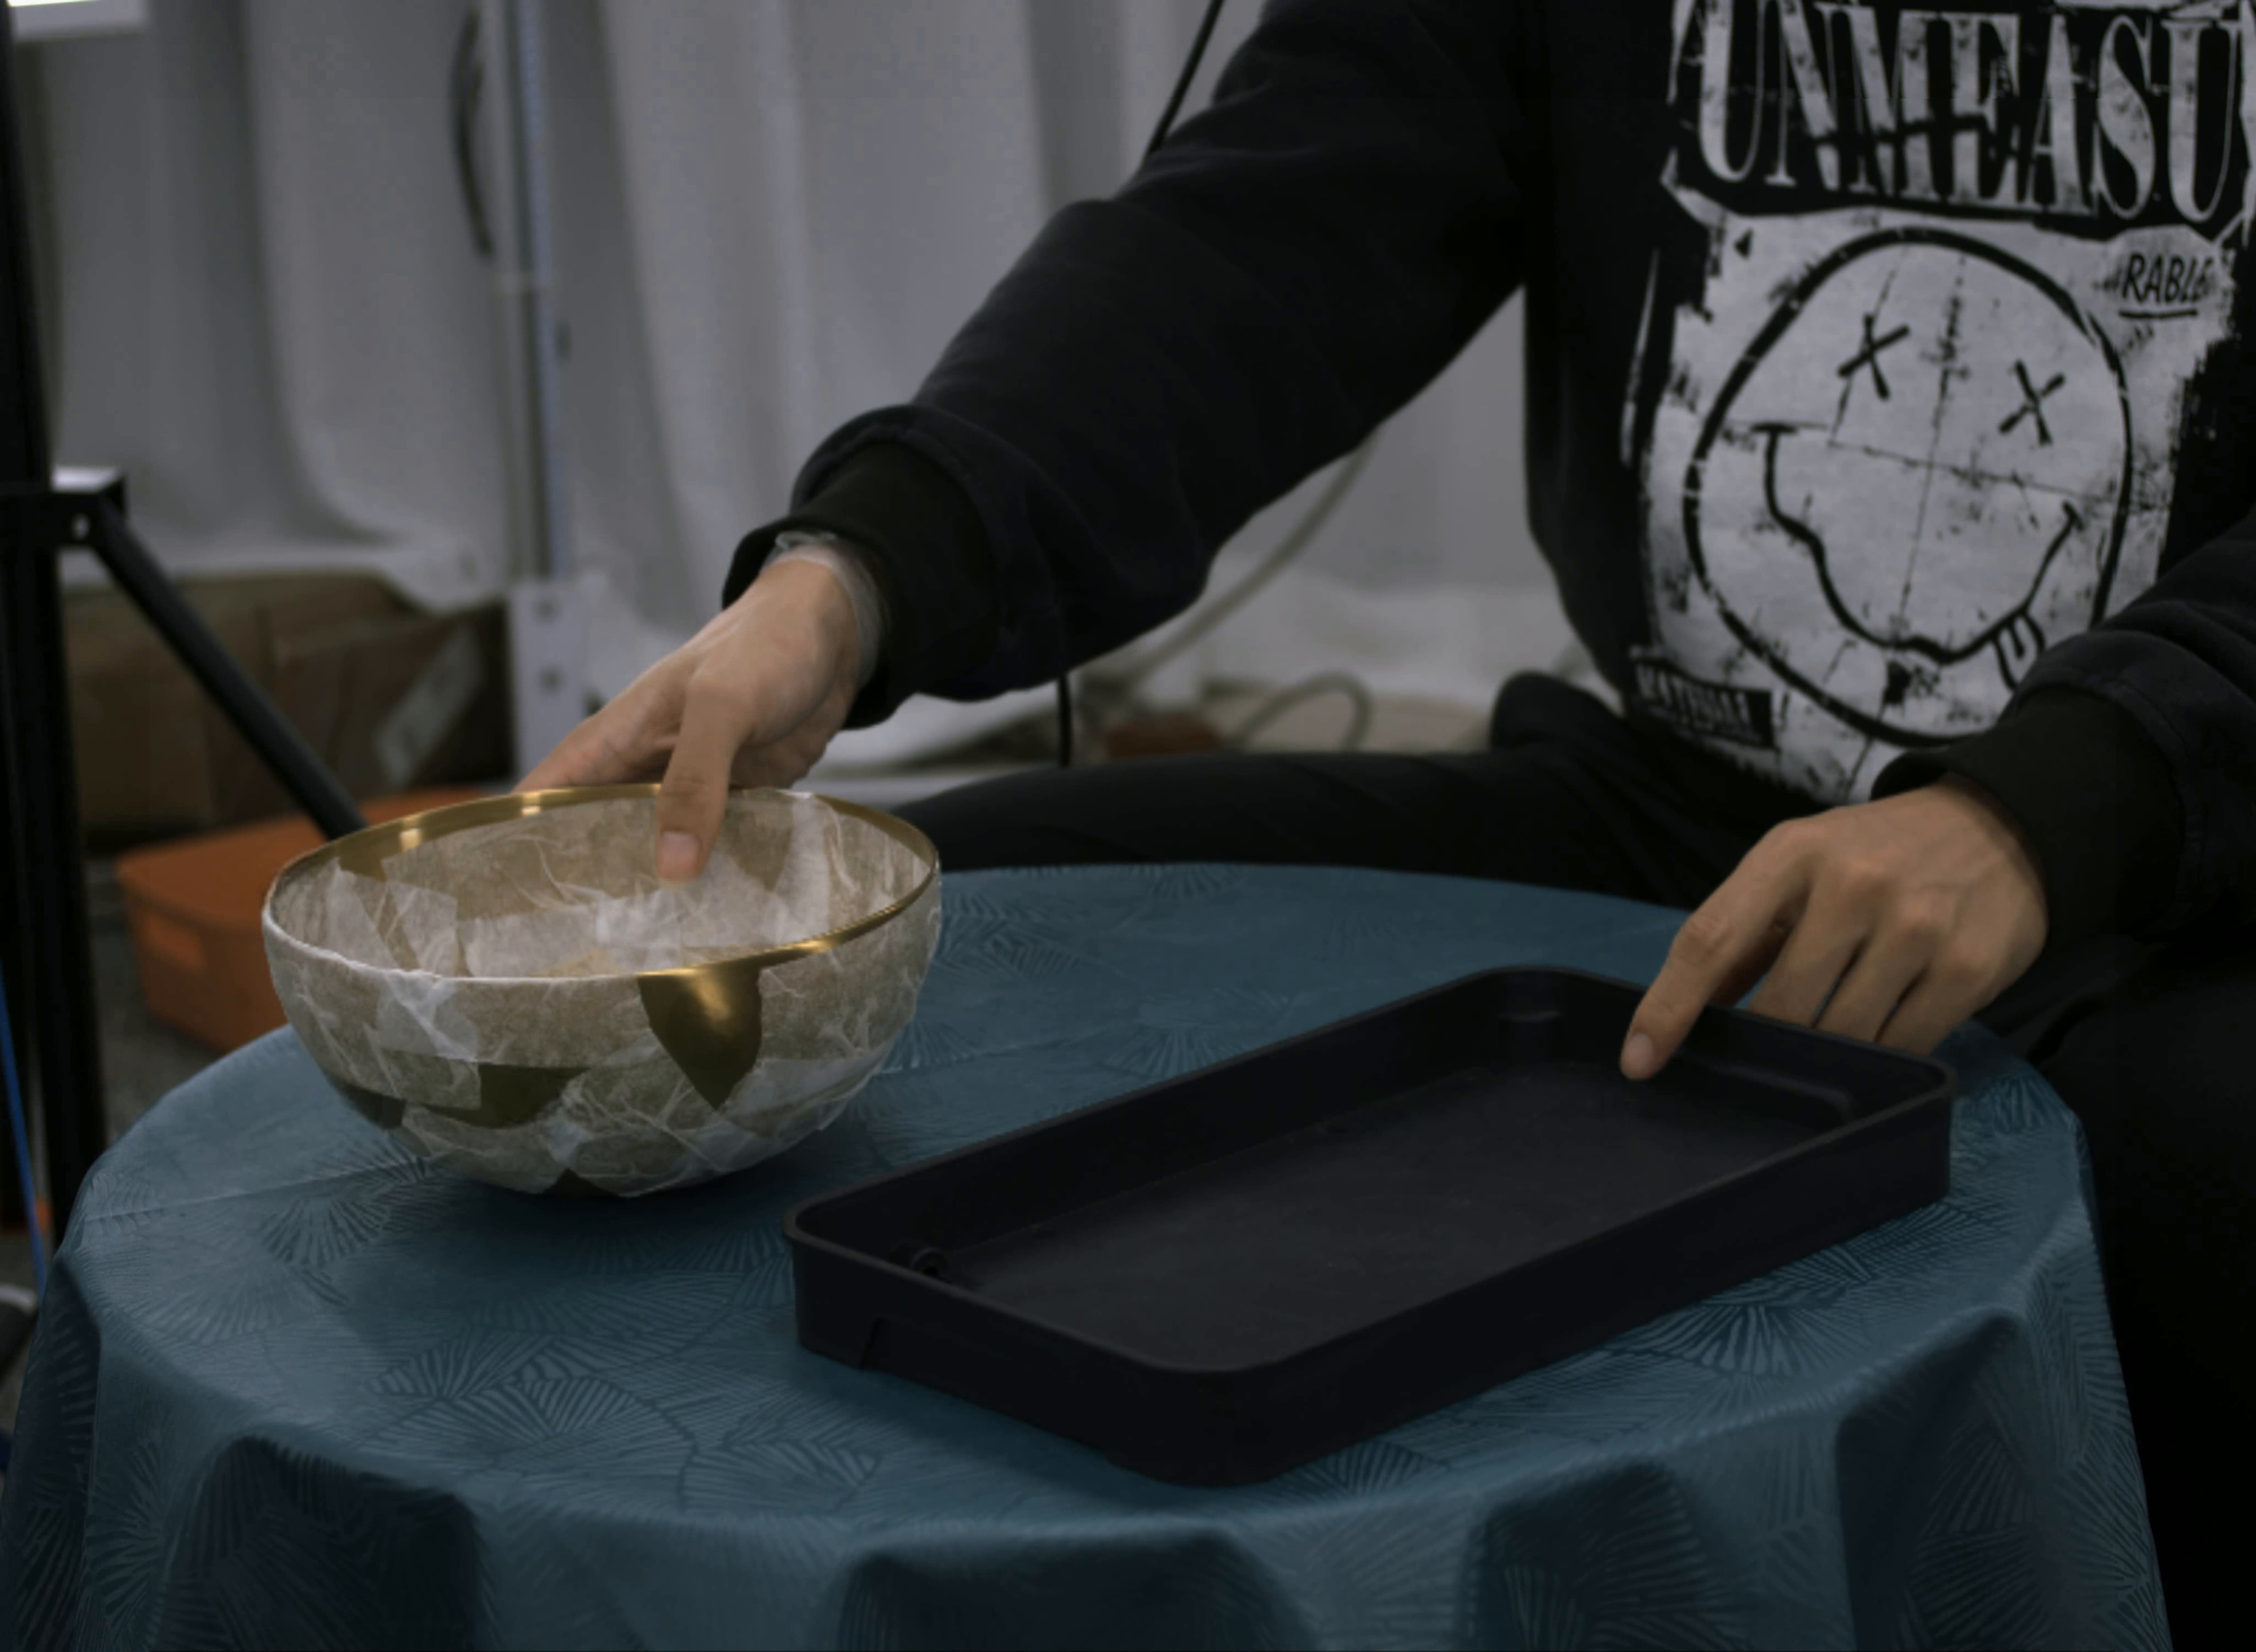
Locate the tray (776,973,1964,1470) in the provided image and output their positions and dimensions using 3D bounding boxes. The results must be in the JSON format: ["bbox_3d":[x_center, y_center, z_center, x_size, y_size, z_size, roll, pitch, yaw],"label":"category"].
[{"bbox_3d":[0.072,0.104,1.487,0.310,0.037,0.188,-15,18,-39],"label":"tray"}]

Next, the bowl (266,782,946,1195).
[{"bbox_3d":[-0.149,0.056,1.598,0.213,0.094,0.216,-4,15,0],"label":"bowl"}]
